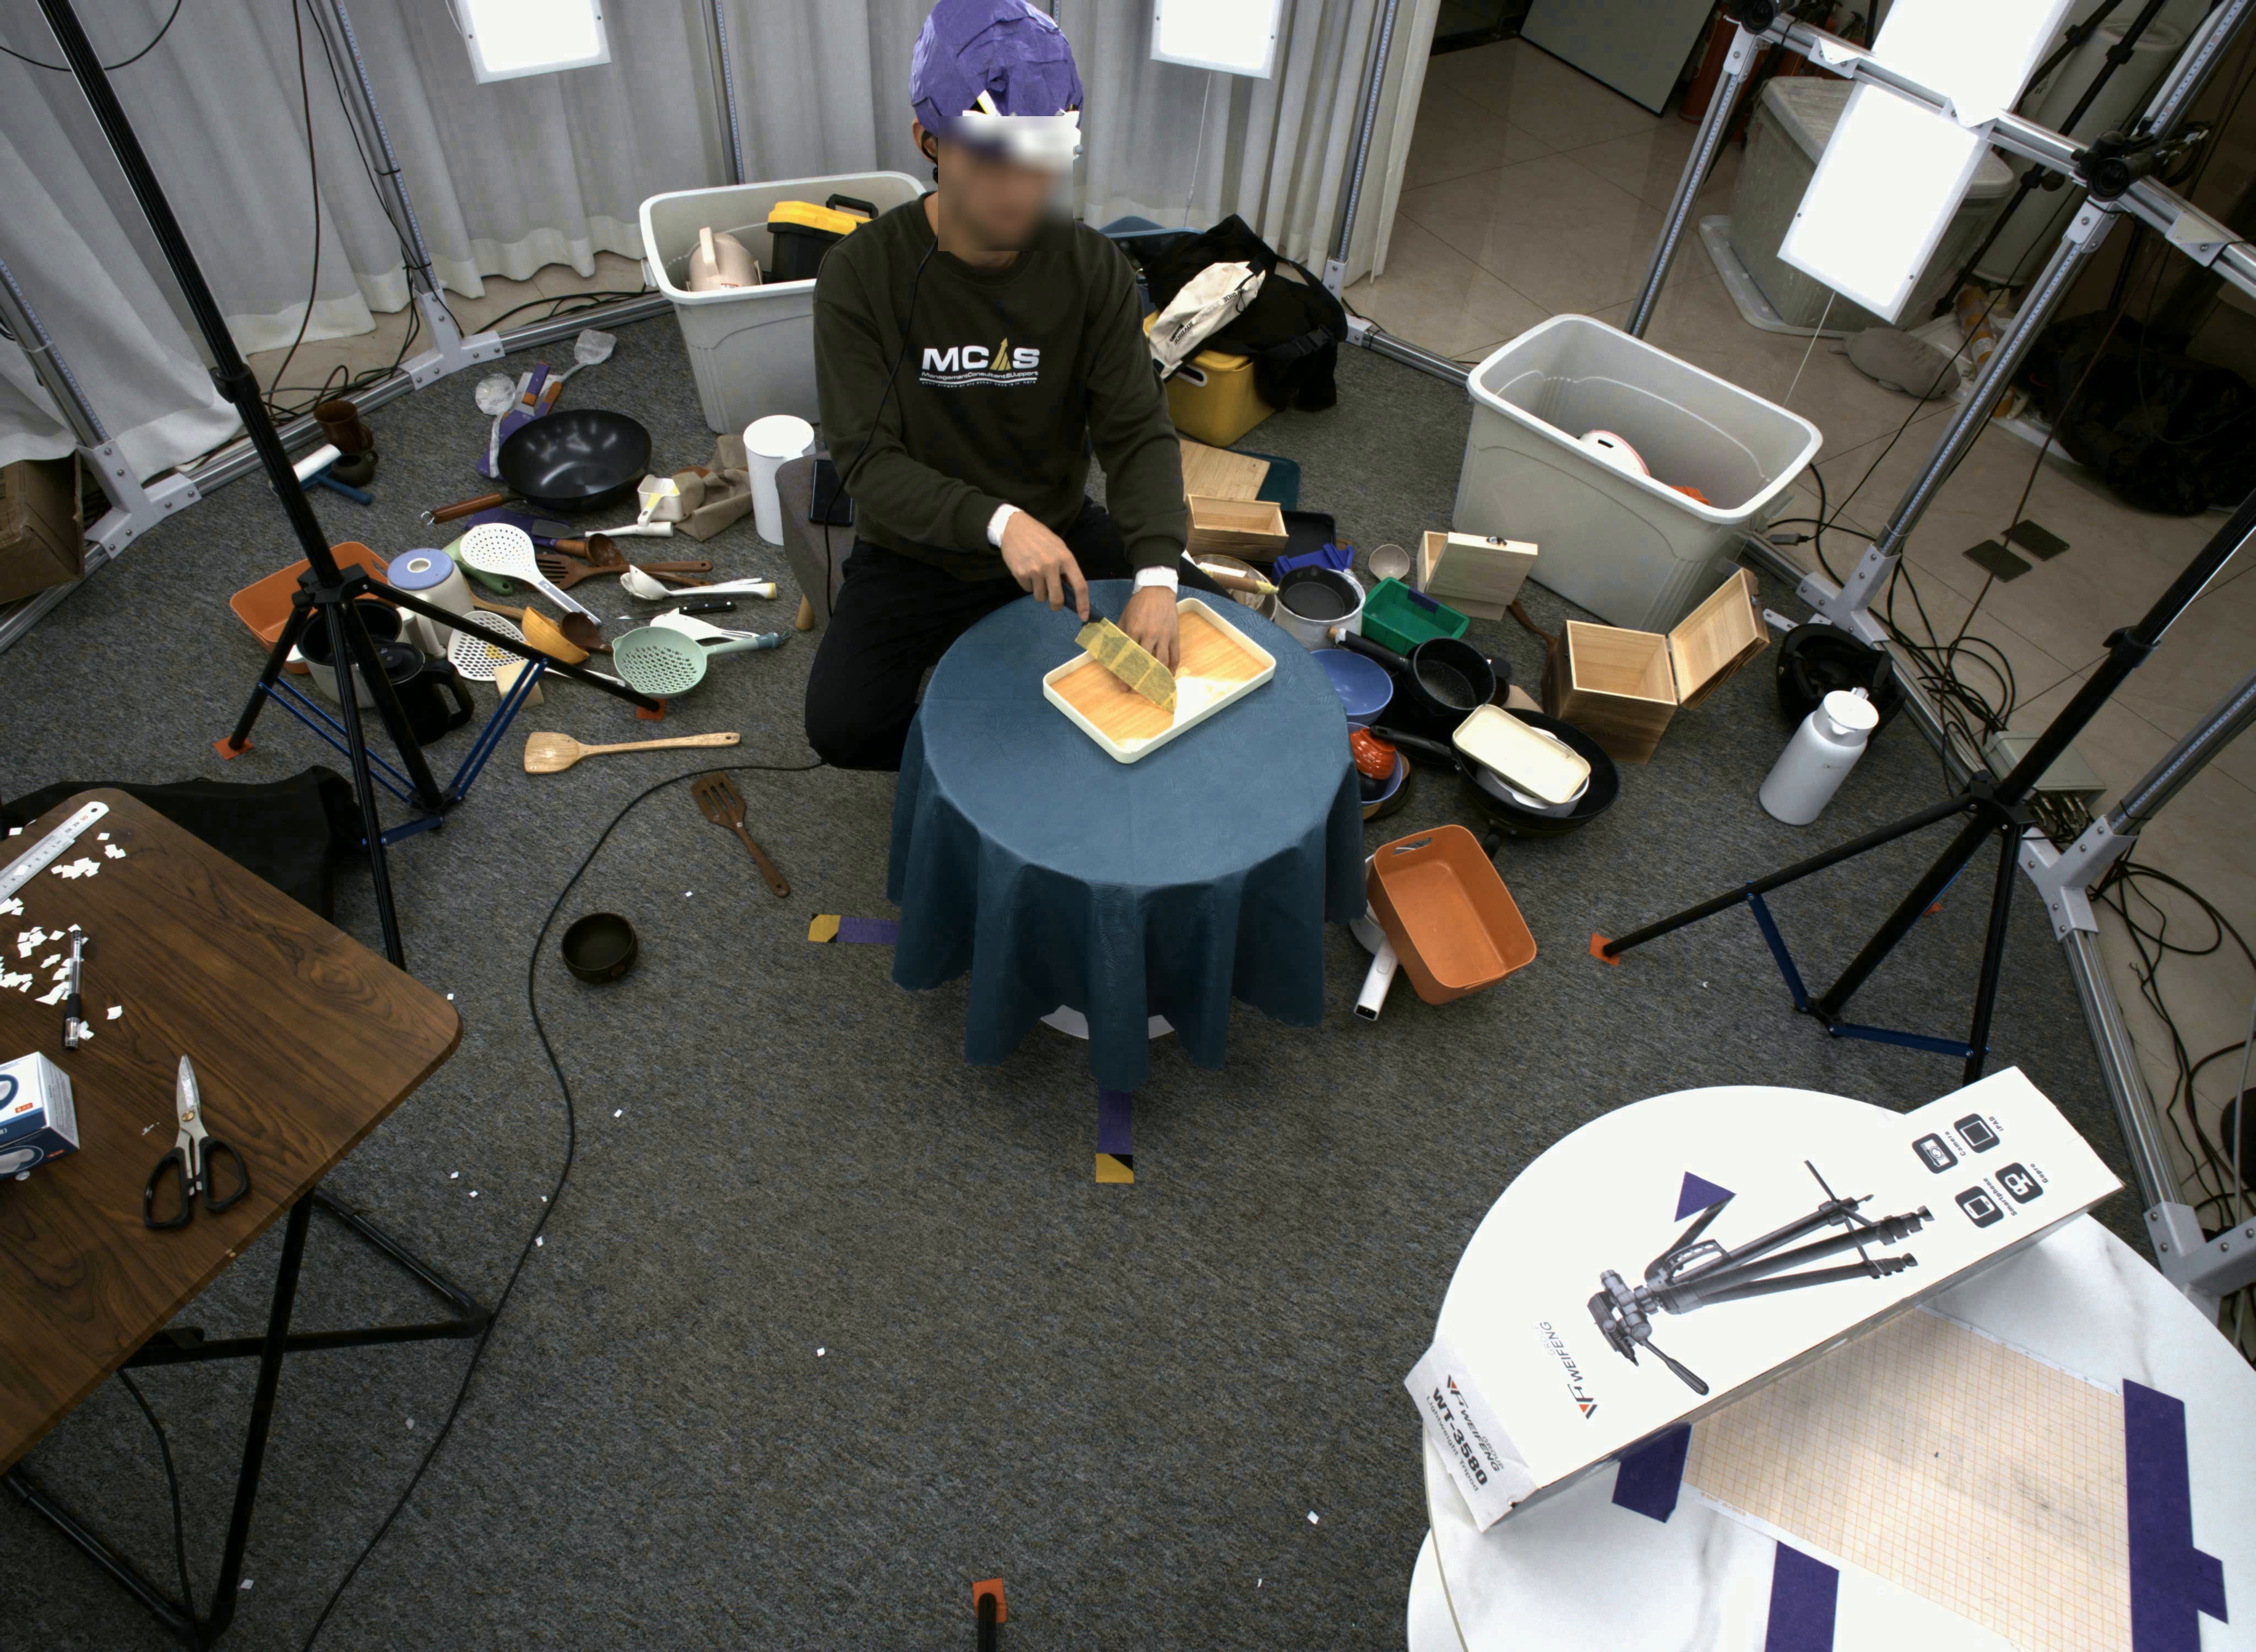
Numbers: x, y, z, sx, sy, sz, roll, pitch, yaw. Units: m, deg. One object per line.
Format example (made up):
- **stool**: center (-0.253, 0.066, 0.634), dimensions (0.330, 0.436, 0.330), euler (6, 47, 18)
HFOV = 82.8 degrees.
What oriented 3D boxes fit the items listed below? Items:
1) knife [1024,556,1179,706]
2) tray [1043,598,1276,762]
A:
- **knife**: center (-0.037, -0.265, 1.778), dimensions (0.289, 0.080, 0.027), euler (43, 48, -3)
- **tray**: center (0.047, -0.215, 1.840), dimensions (0.302, 0.027, 0.195), euler (-32, 57, -28)
